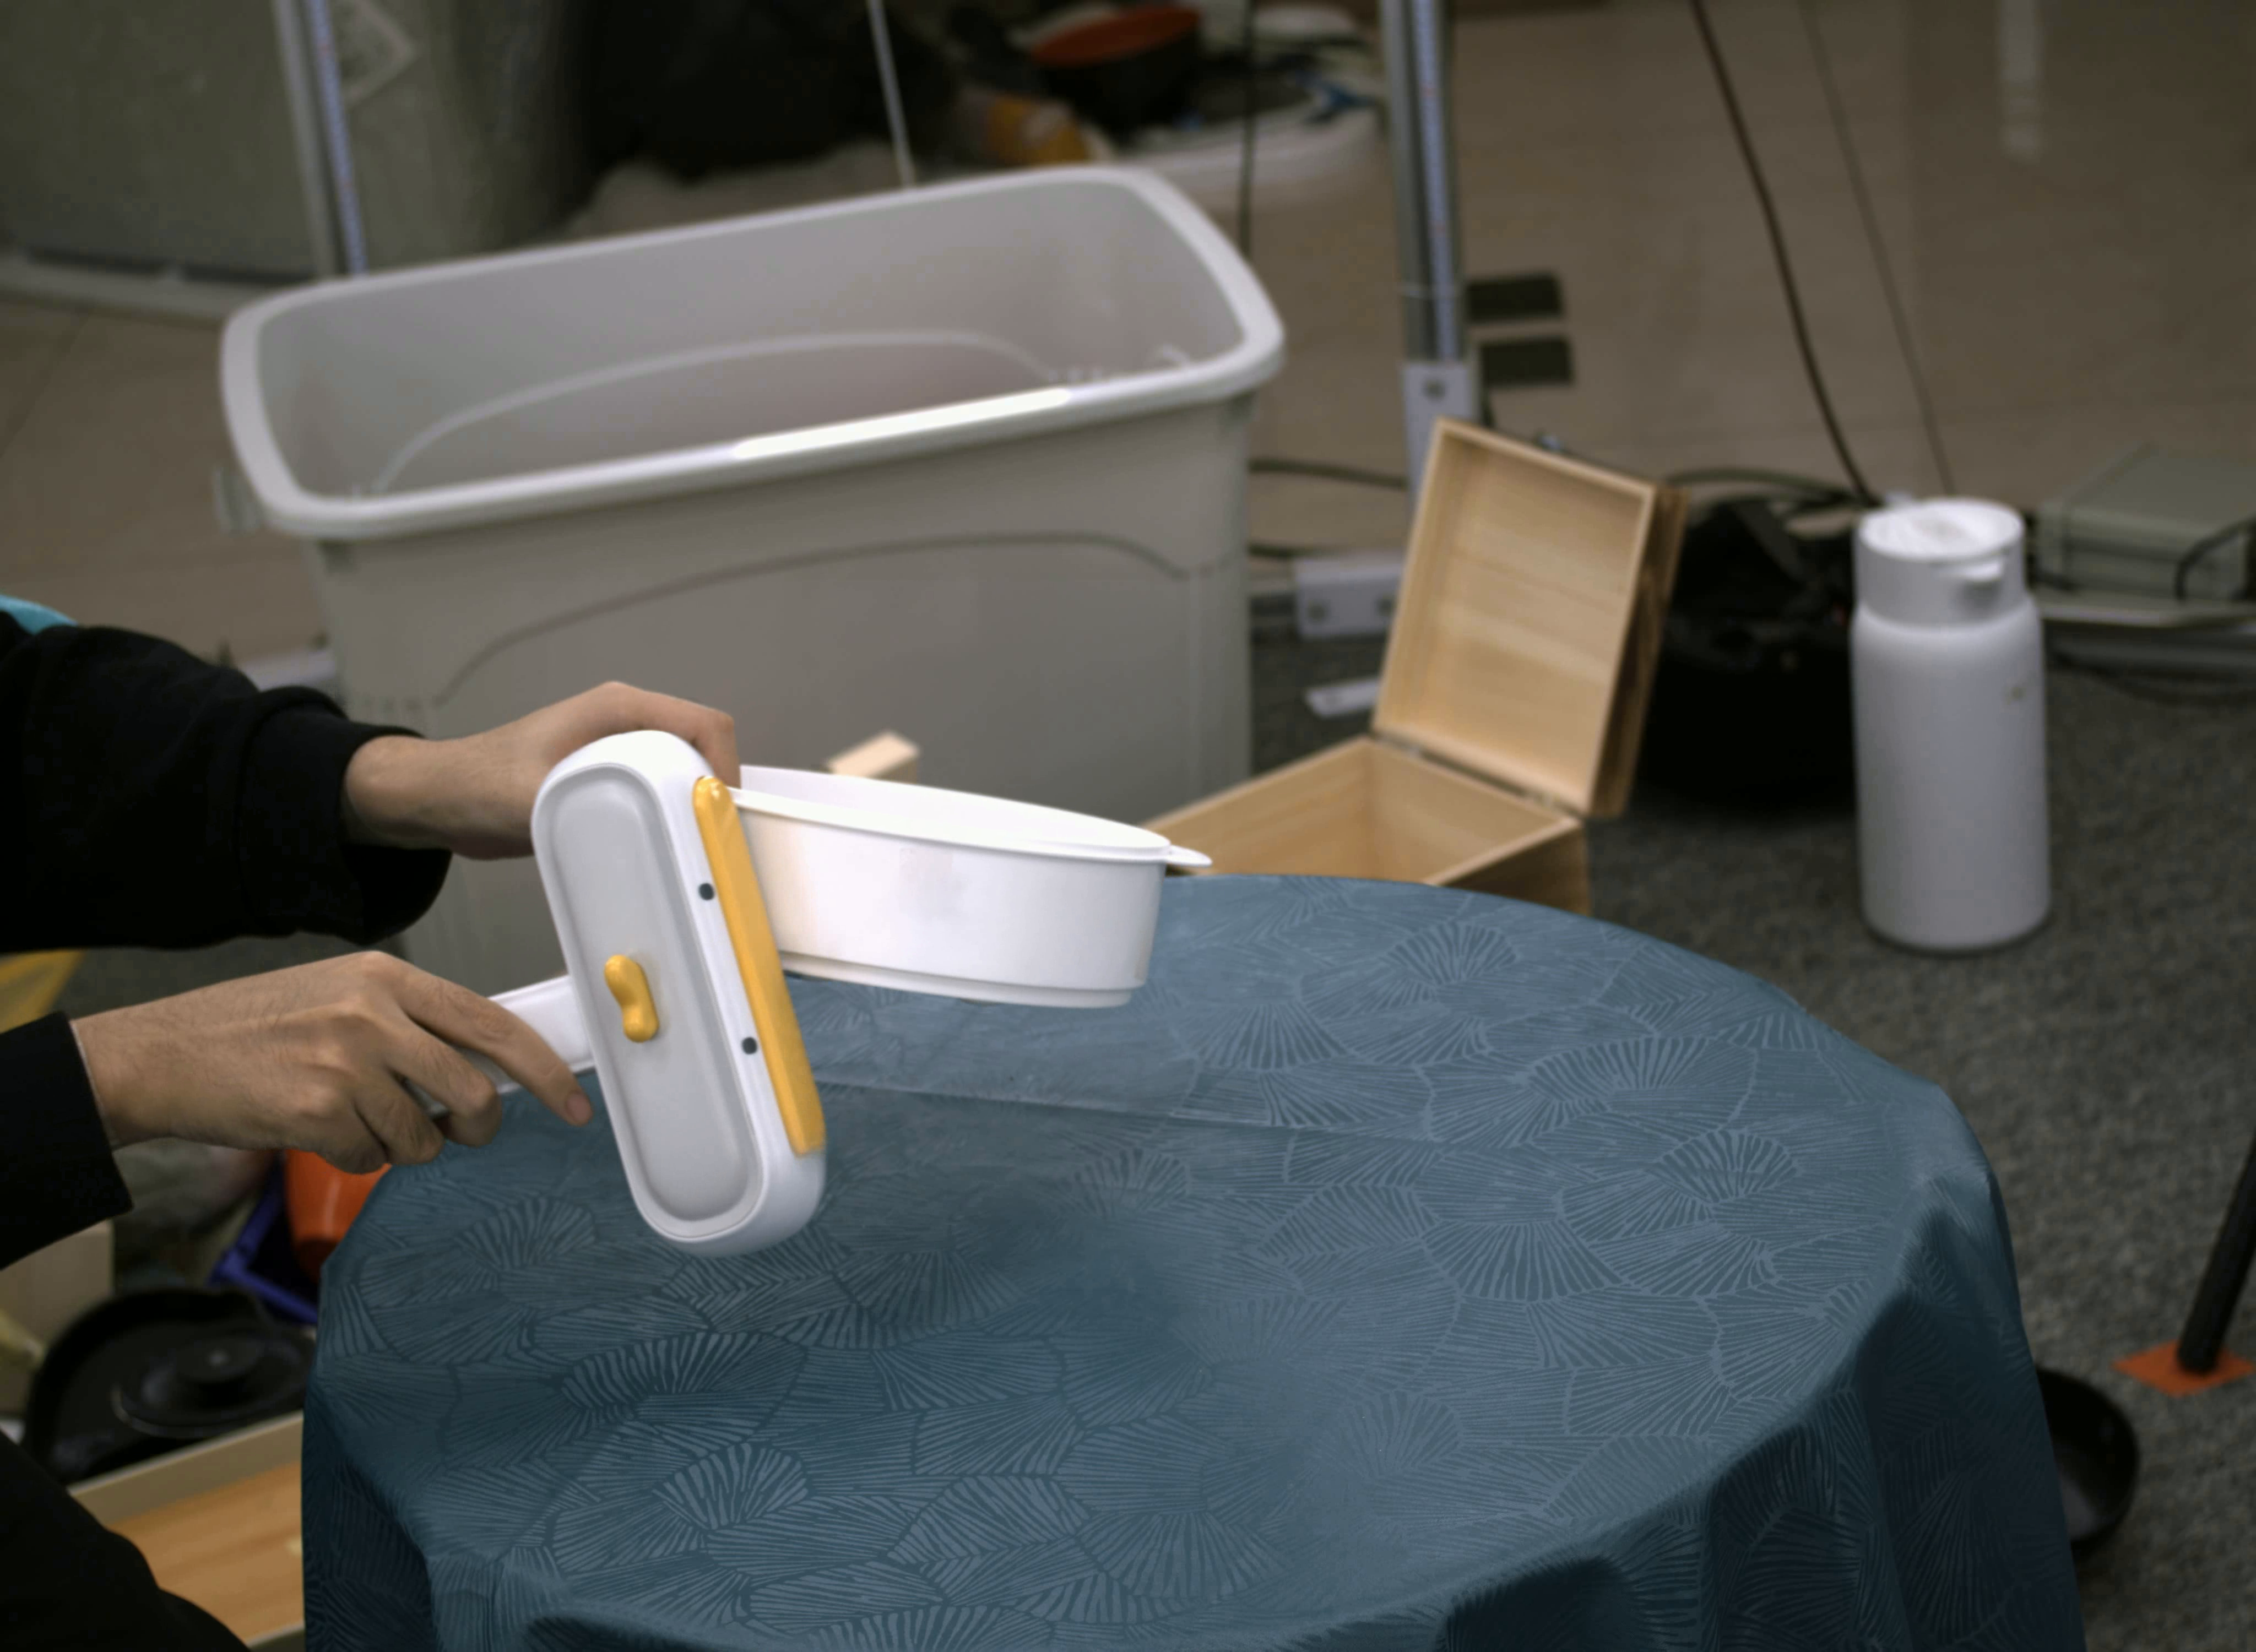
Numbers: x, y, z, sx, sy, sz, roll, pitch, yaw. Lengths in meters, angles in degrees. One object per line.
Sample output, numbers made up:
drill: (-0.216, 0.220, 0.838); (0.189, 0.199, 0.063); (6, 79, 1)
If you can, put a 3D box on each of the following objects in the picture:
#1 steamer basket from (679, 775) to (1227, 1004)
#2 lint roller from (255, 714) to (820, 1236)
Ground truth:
steamer basket: (-0.080, 0.025, 2.135); (0.230, 0.069, 0.201); (6, 4, -5)
lint roller: (-0.223, 0.075, 2.052); (0.193, 0.193, 0.074); (-21, 2, 13)
